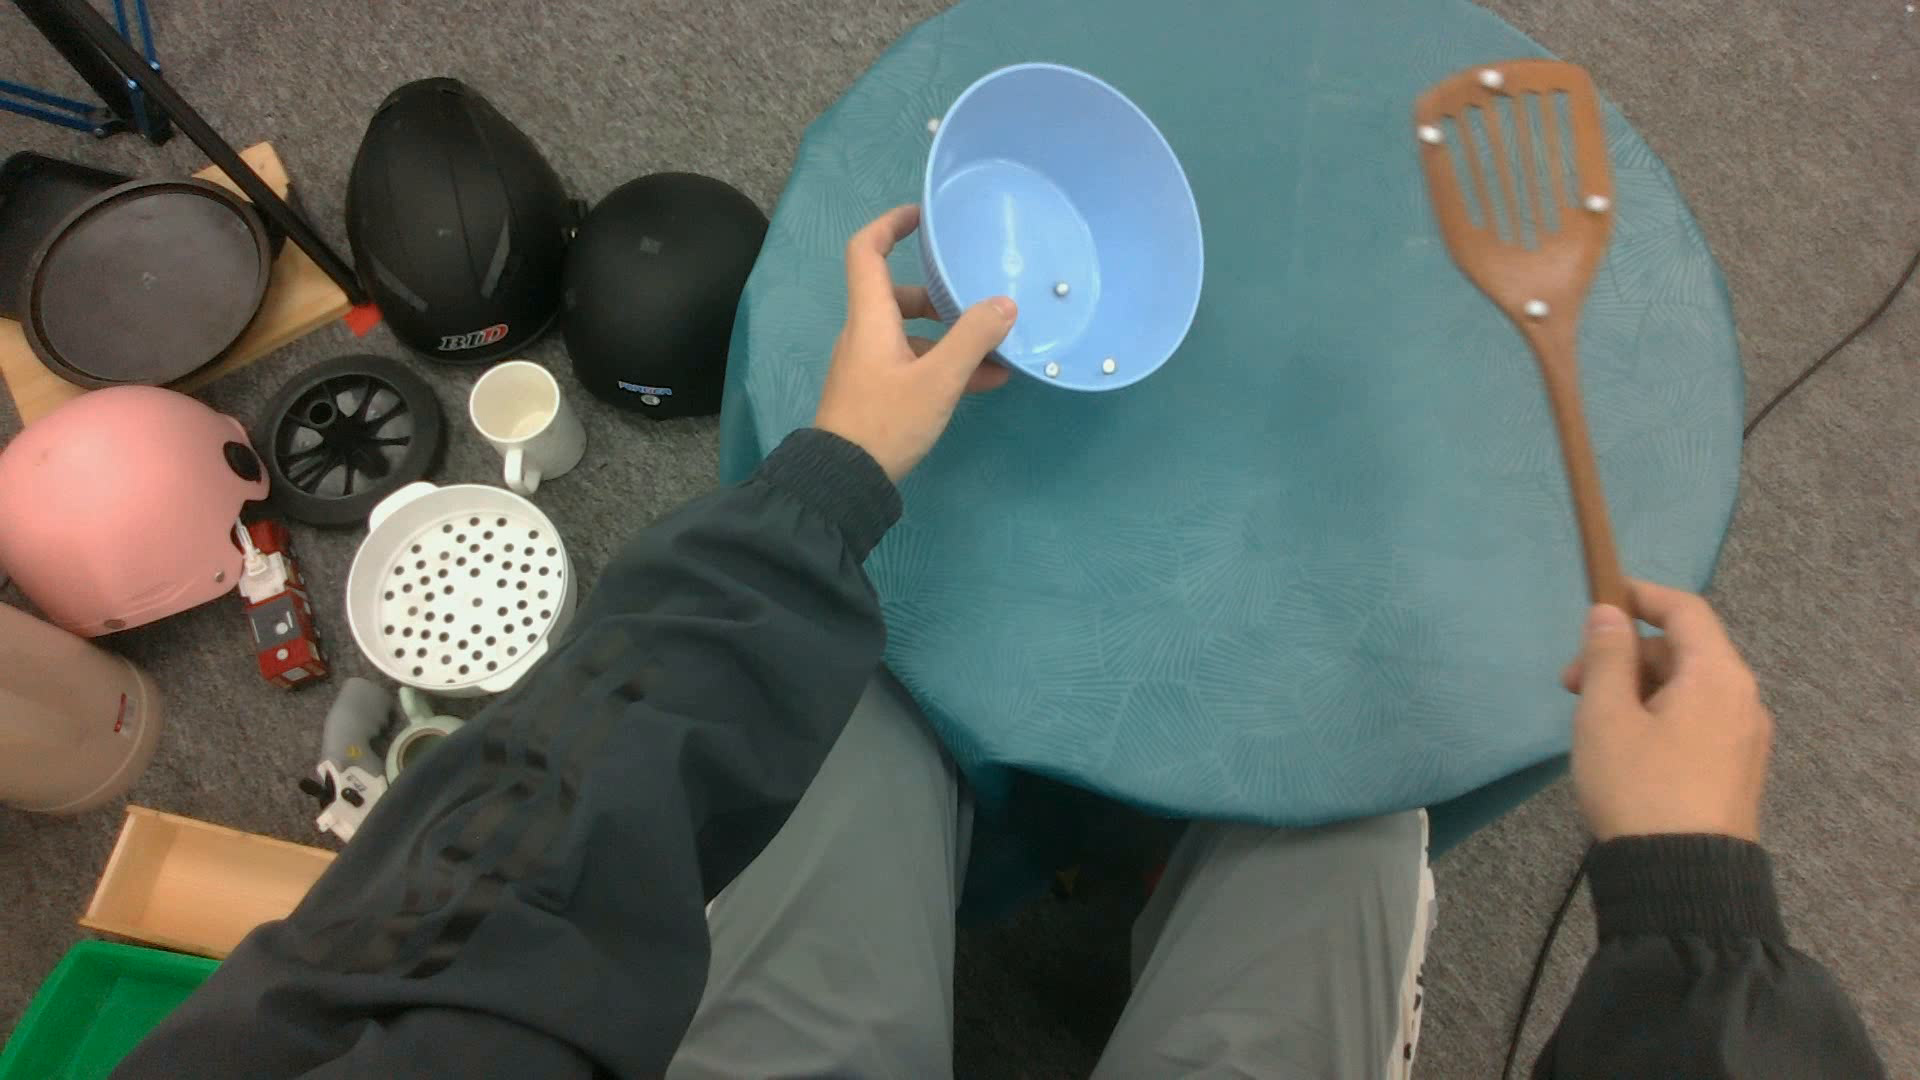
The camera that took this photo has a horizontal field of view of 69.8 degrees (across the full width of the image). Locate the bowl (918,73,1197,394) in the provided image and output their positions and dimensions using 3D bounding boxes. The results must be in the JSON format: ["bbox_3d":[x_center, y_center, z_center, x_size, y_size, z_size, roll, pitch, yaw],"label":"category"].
[{"bbox_3d":[0.044,-0.161,0.763,0.176,0.070,0.176,5,80,-30],"label":"bowl"}]

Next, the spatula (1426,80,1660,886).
[{"bbox_3d":[0.288,-0.035,0.652,0.085,0.024,0.387,-8,77,21],"label":"spatula"}]
